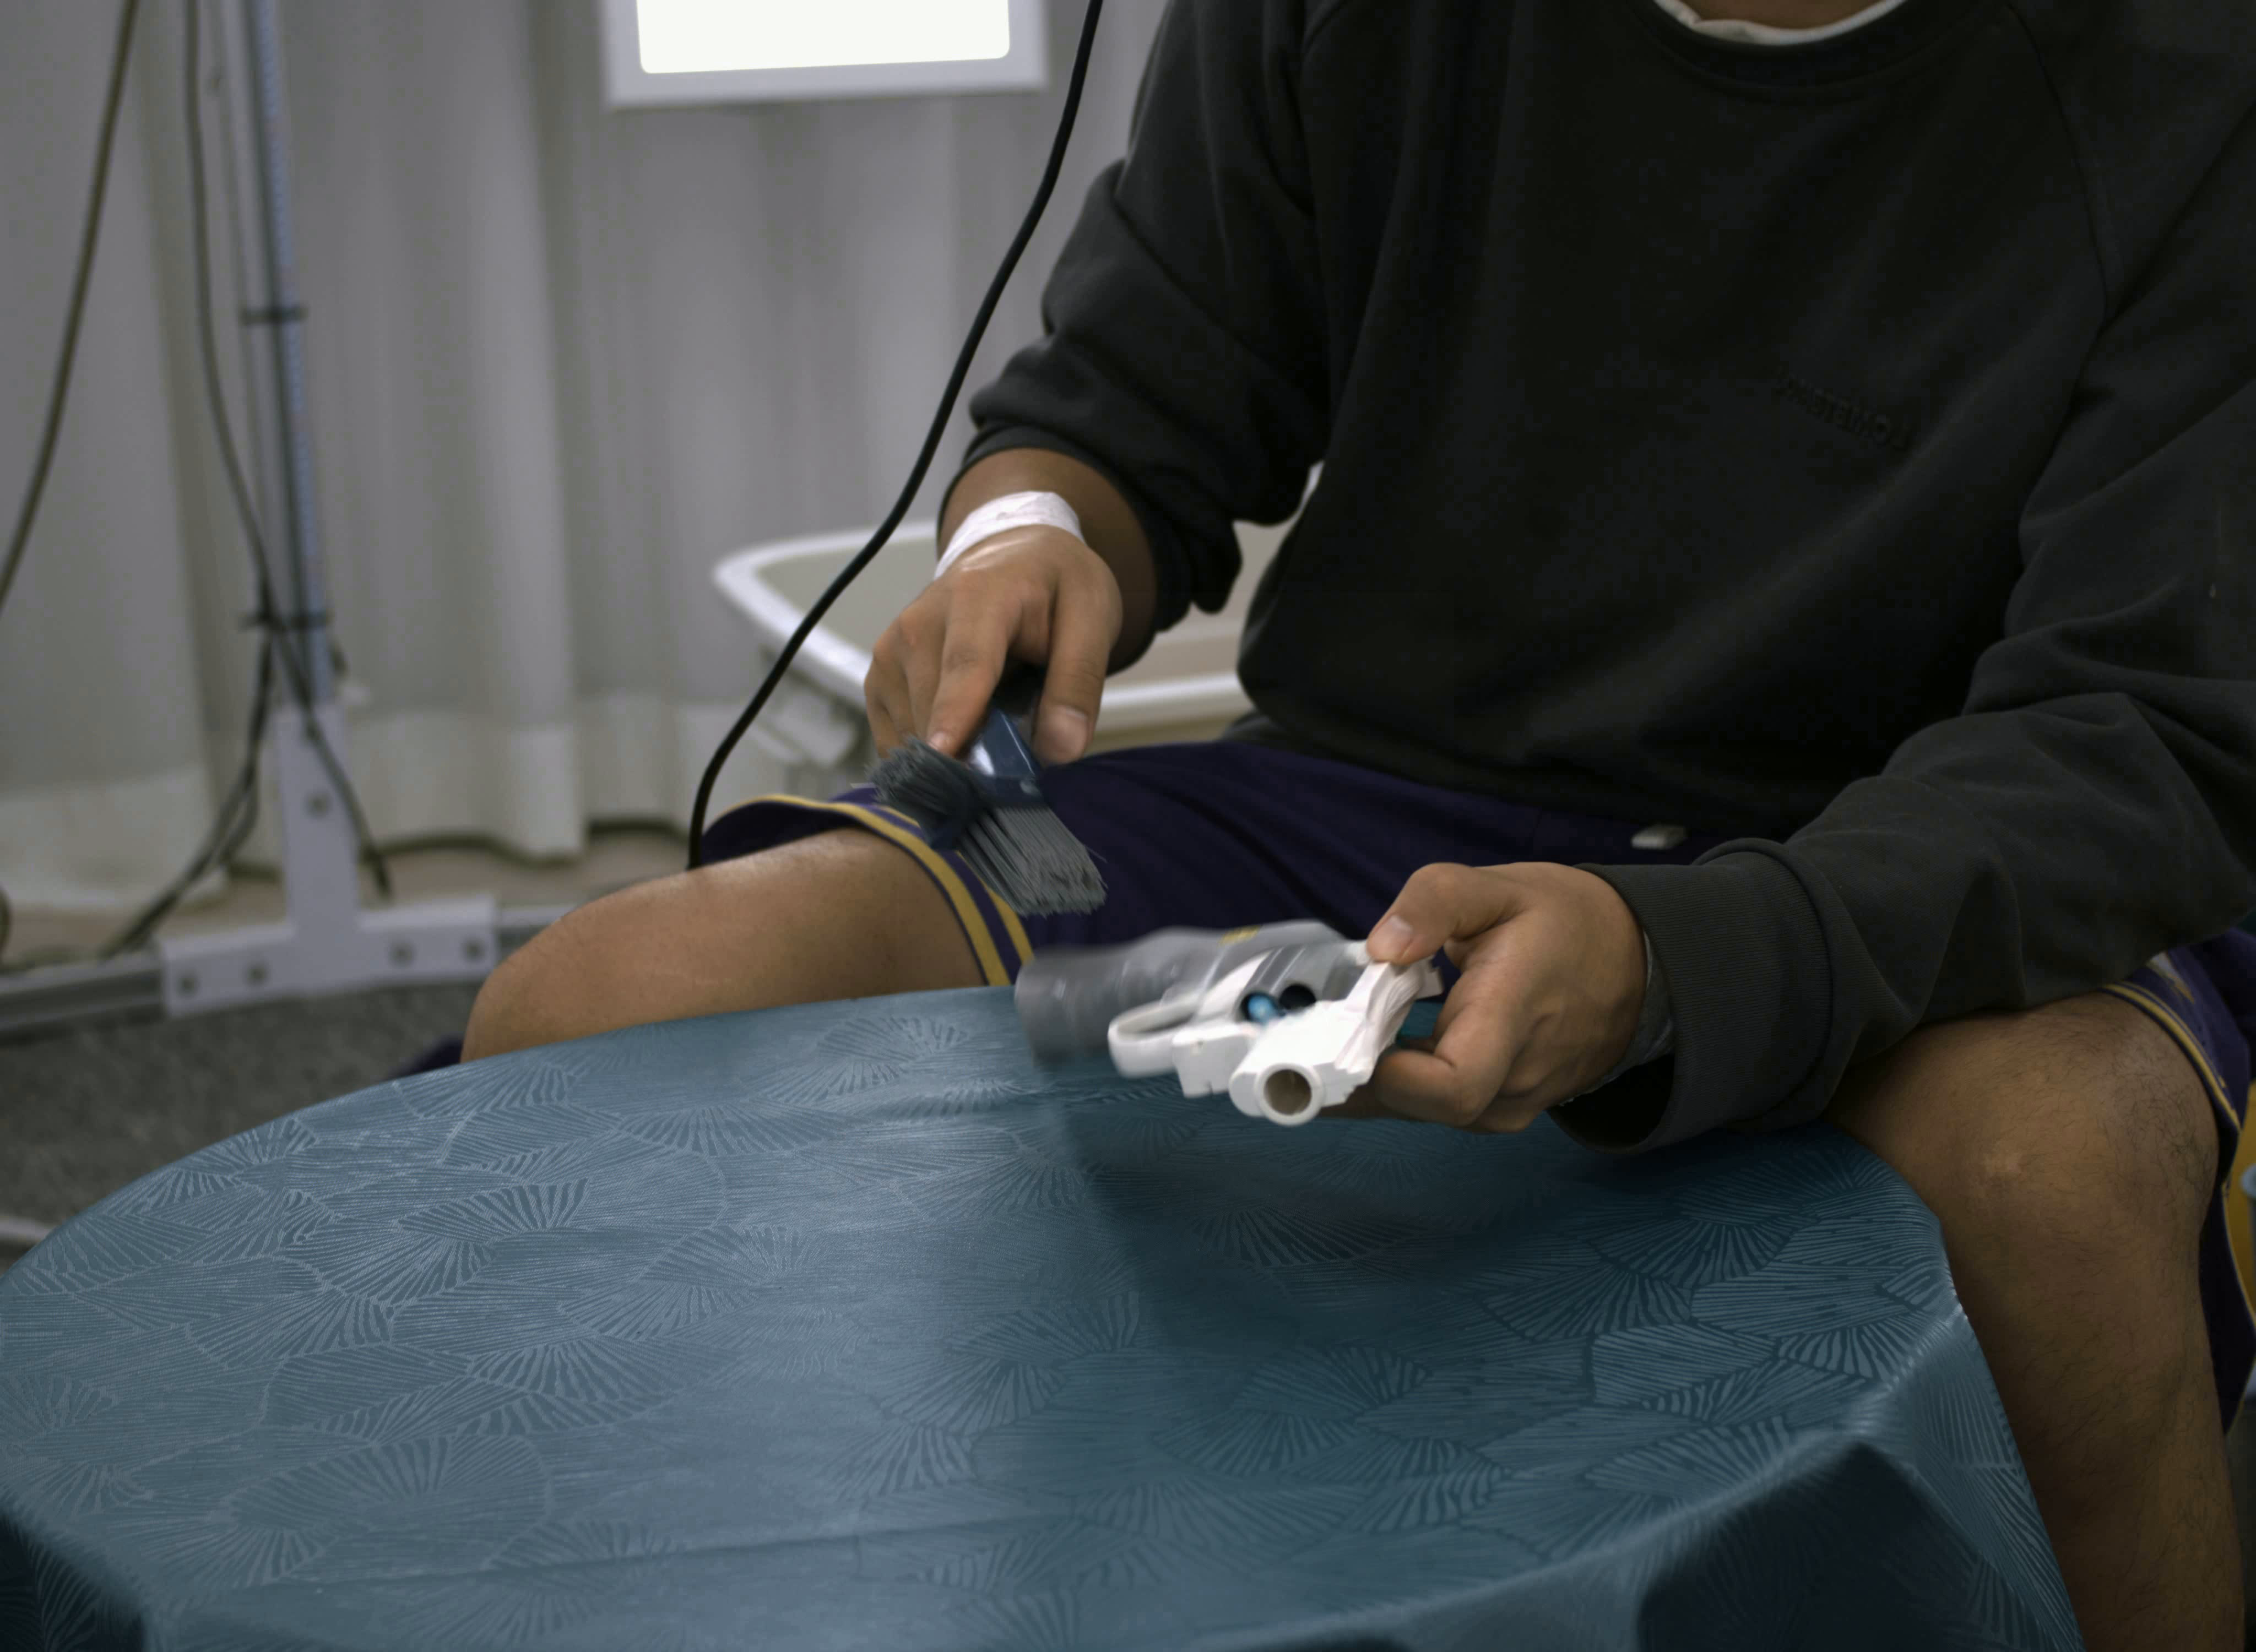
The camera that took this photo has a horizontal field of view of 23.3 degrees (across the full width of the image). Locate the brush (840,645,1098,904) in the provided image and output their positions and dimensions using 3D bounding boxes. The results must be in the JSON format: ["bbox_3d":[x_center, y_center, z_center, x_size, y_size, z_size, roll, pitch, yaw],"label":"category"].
[{"bbox_3d":[-0.045,-0.031,1.788,0.033,0.095,0.275,-46,12,12],"label":"brush"}]

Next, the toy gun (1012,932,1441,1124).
[{"bbox_3d":[0.021,0.064,1.636,0.141,0.039,0.210,-15,8,13],"label":"toy gun"}]
